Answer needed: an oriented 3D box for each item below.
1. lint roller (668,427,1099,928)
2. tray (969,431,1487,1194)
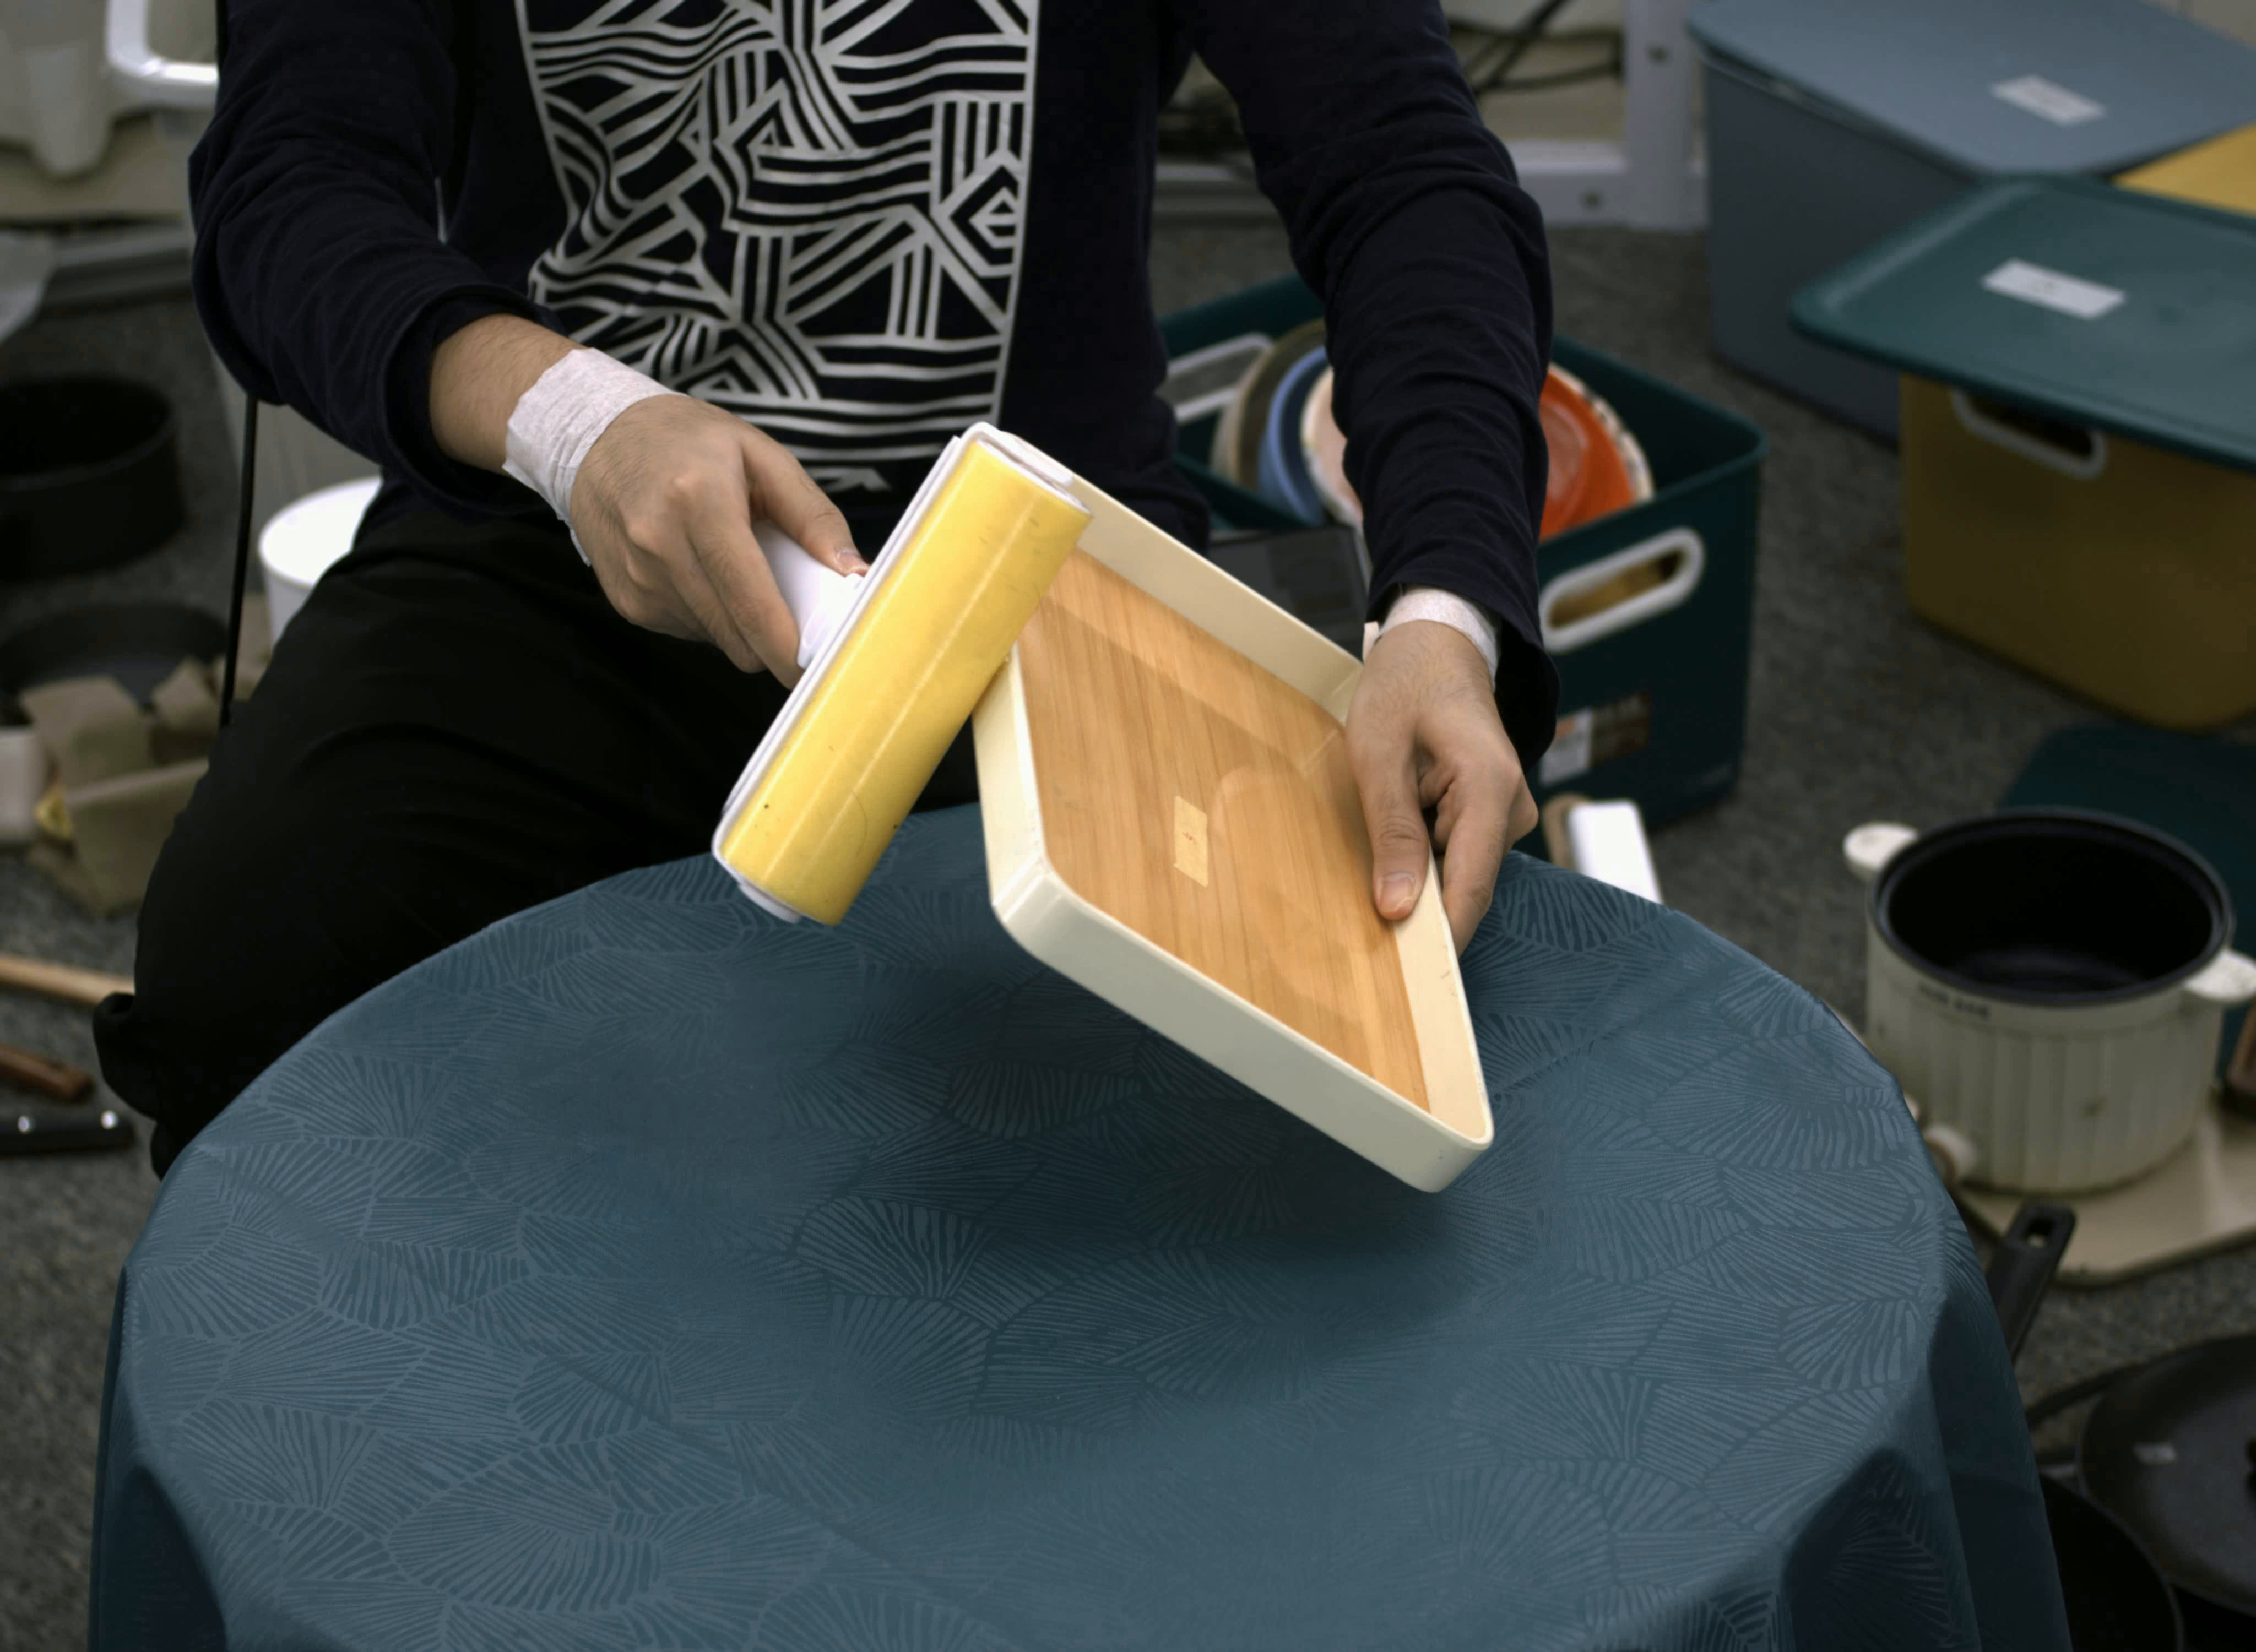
[{"bbox_3d":[-0.113,-0.074,1.893,0.051,0.174,0.192,33,1,-45],"label":"lint roller"},{"bbox_3d":[0.026,-0.009,1.899,0.191,0.027,0.305,32,24,-22],"label":"tray"}]
